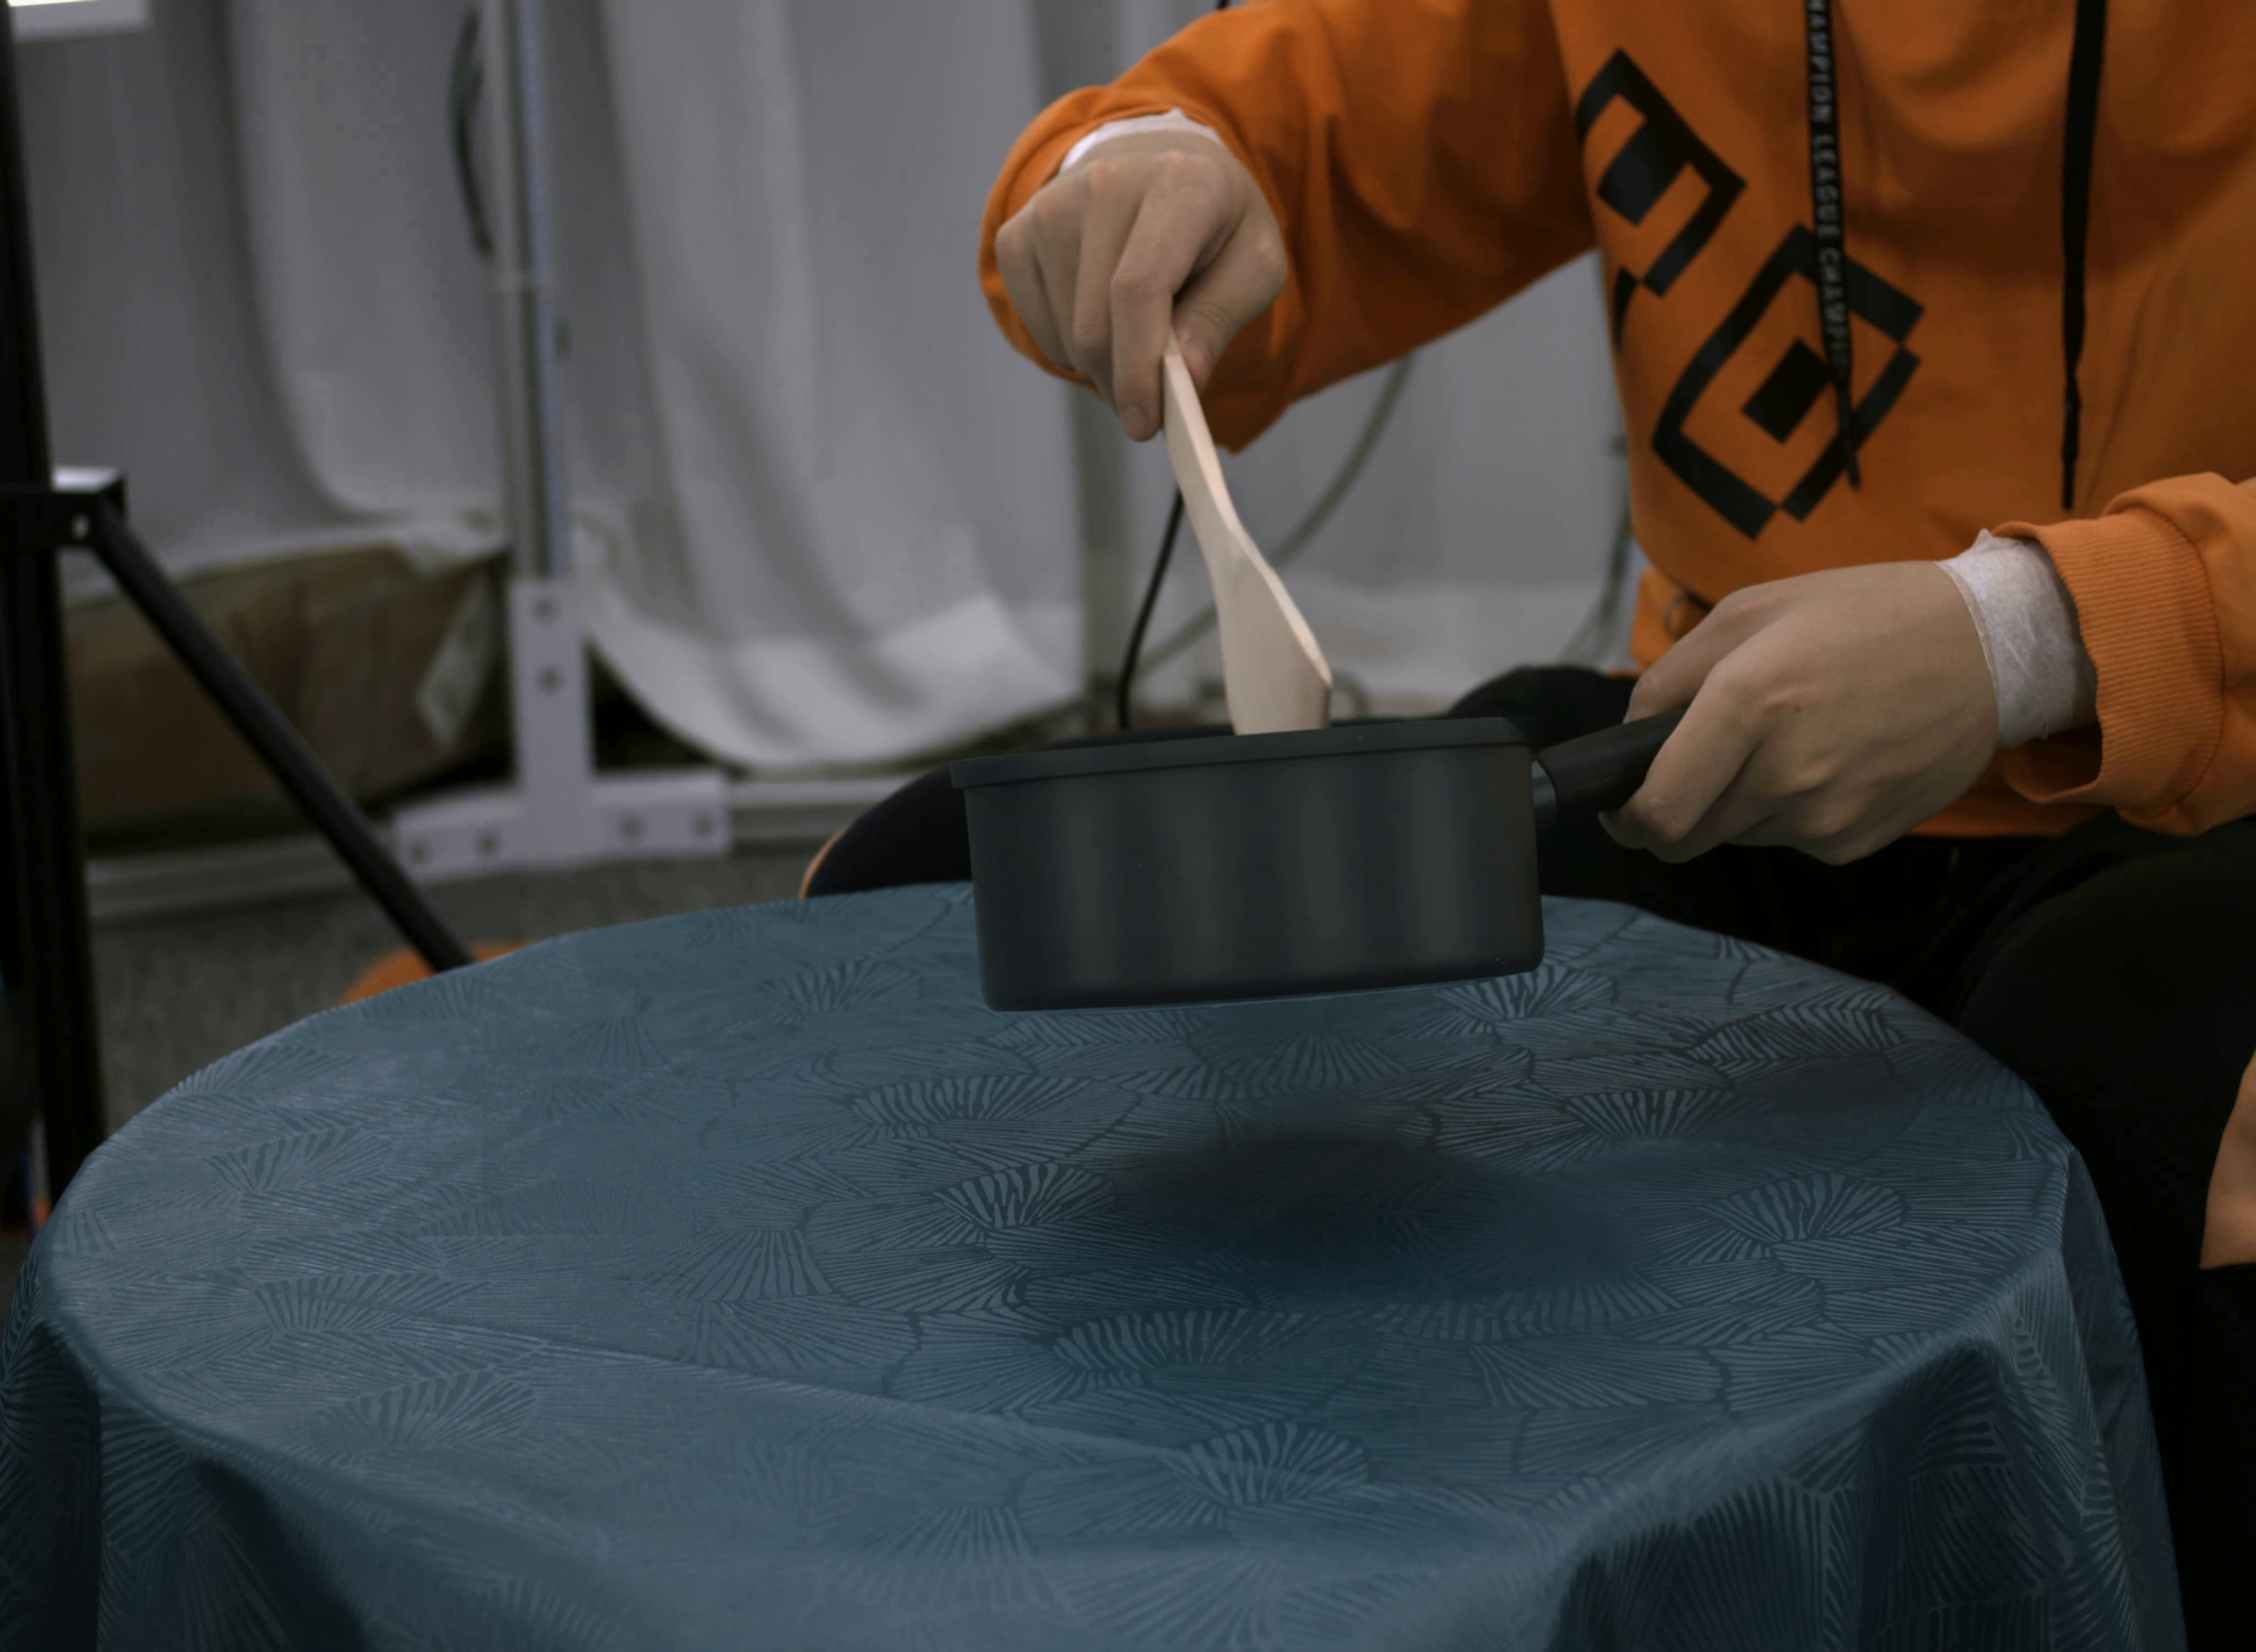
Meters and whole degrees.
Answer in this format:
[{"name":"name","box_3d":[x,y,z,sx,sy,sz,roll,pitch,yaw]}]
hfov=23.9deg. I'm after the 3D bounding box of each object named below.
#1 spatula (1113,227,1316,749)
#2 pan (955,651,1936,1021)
[{"name":"spatula","box_3d":[0.023,-0.105,1.661,0.010,0.072,0.297,-4,37,-10]},{"name":"pan","box_3d":[0.105,0.004,1.568,0.321,0.087,0.175,-6,1,-29]}]
